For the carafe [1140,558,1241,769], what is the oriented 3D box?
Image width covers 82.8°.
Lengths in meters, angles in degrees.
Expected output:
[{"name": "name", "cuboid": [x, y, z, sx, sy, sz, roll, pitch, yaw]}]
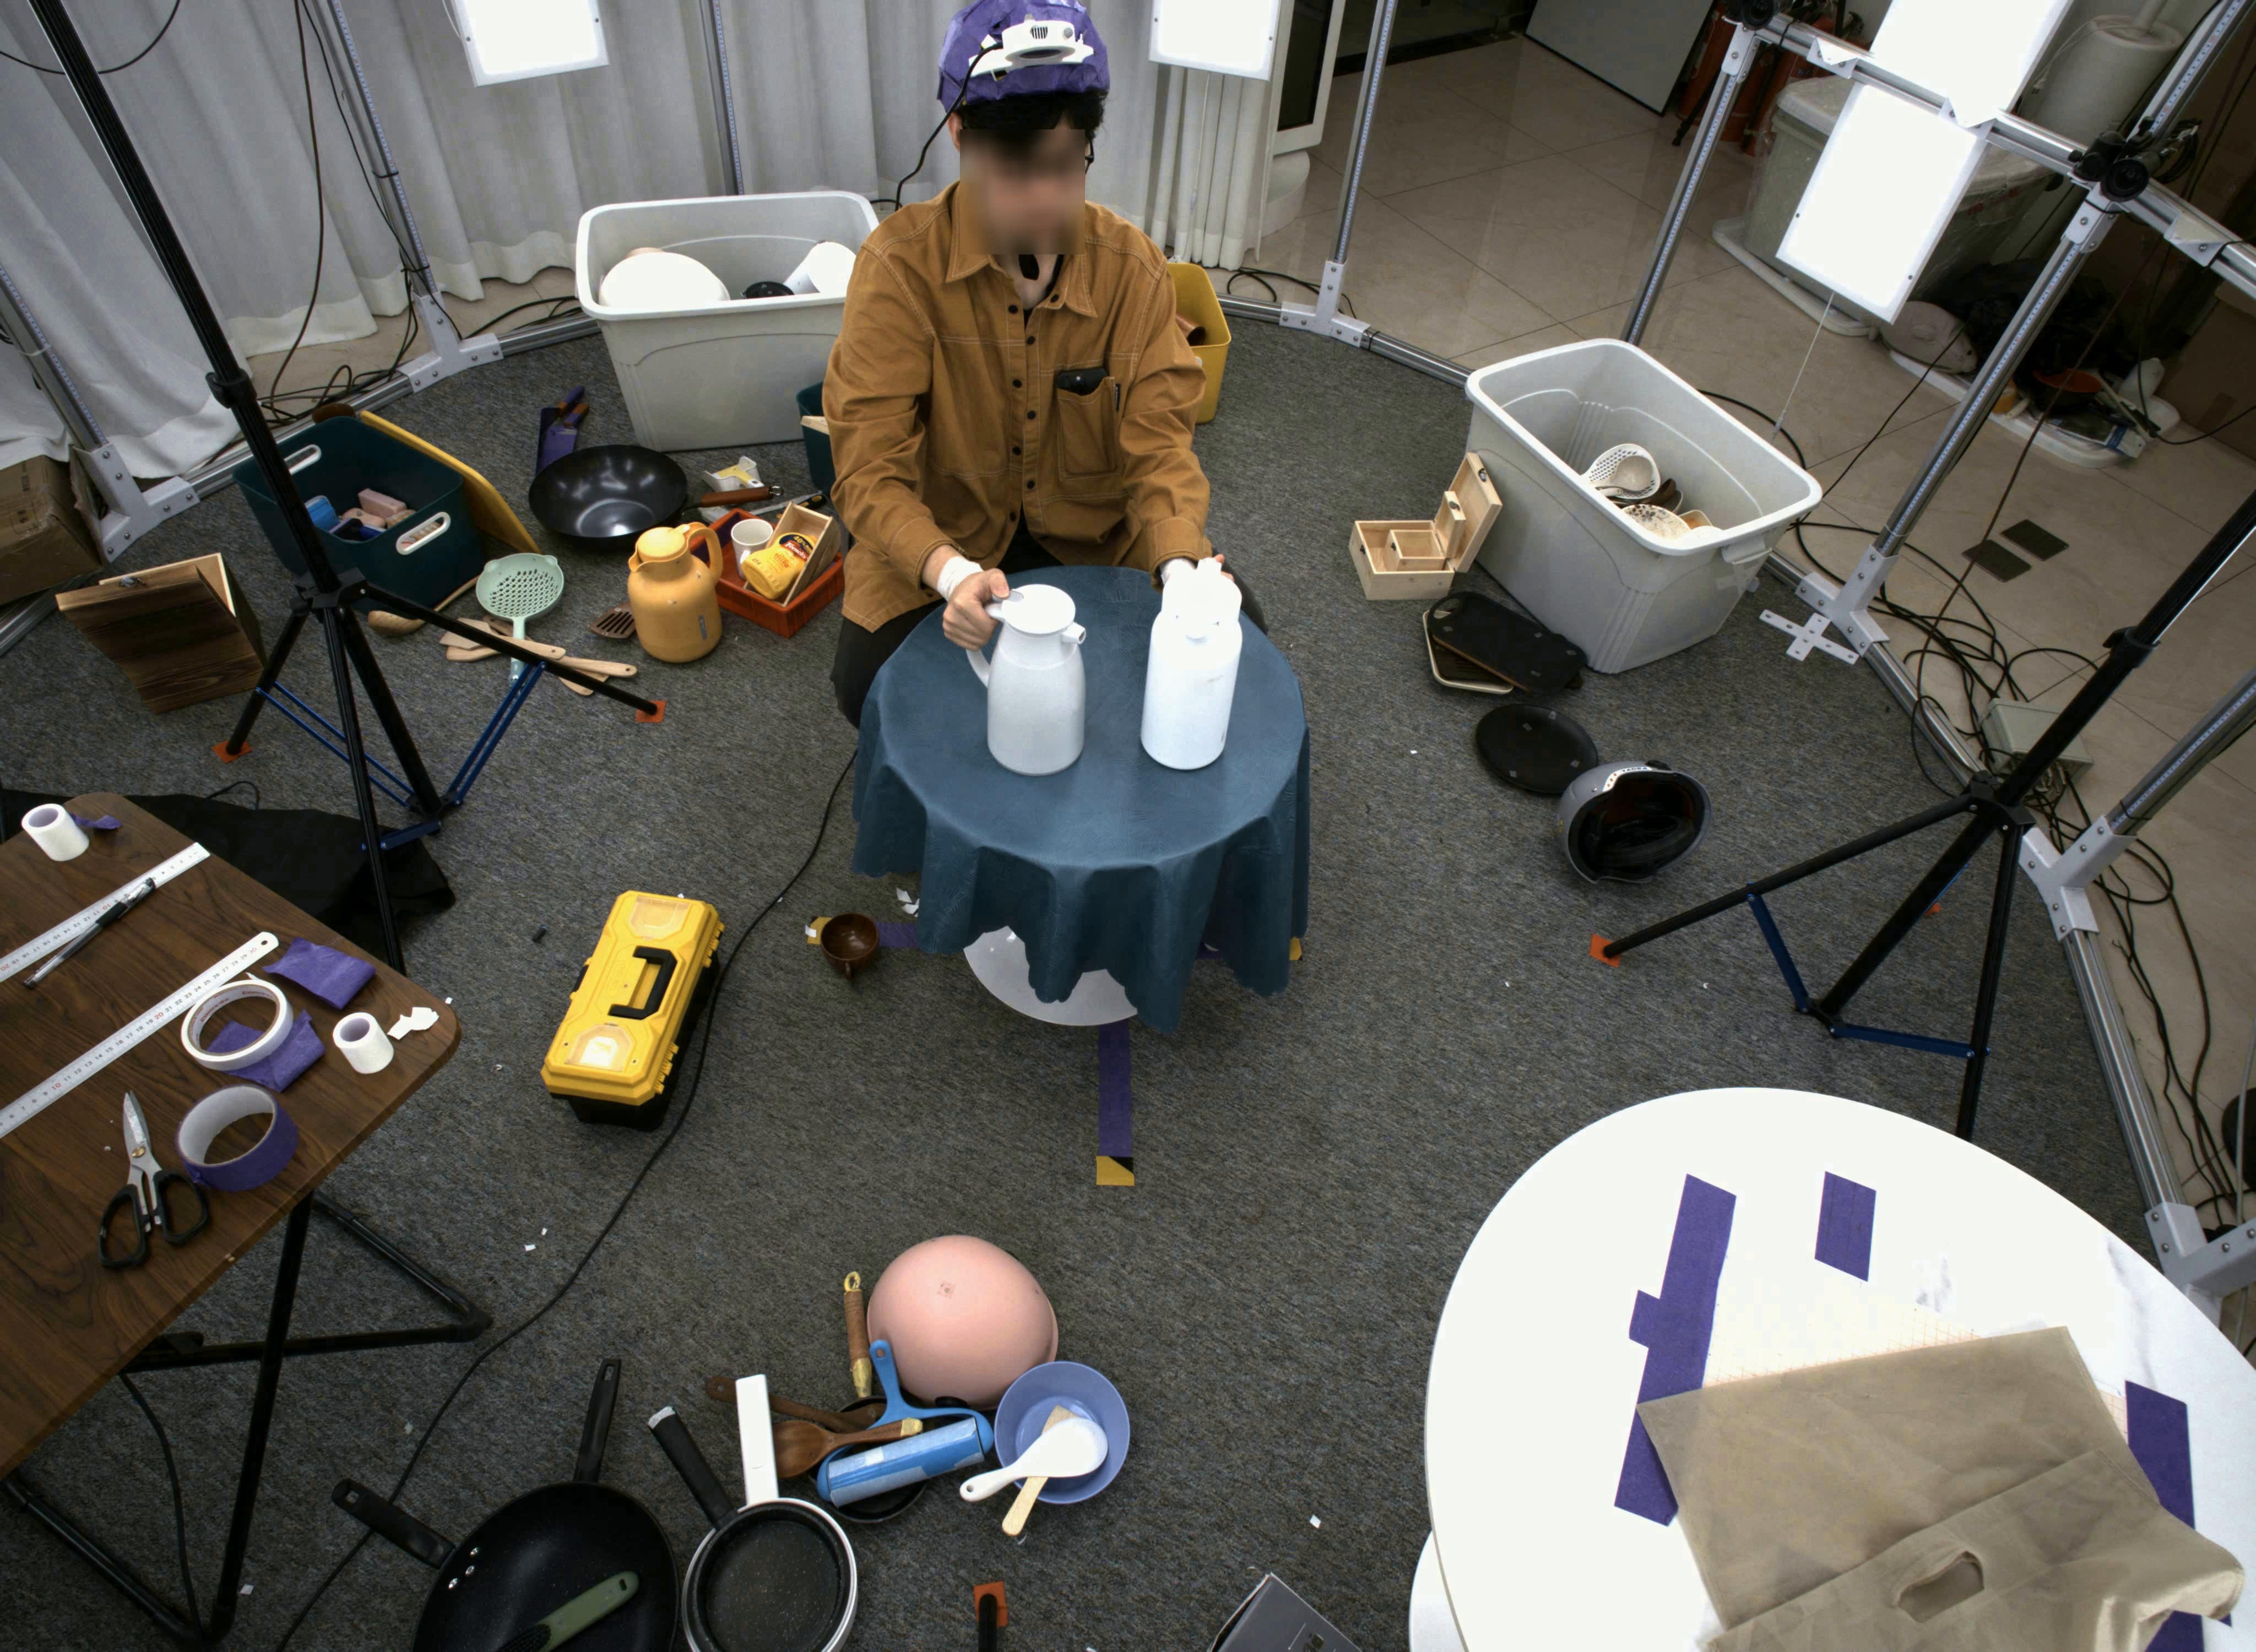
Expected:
[{"name": "carafe", "cuboid": [0.084, -0.215, 1.689, 0.124, 0.262, 0.177, 8, 49, 5]}]

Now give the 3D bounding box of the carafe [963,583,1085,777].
[{"name": "carafe", "cuboid": [-0.138, -0.201, 1.675, 0.169, 0.242, 0.135, 21, 51, 15]}]
